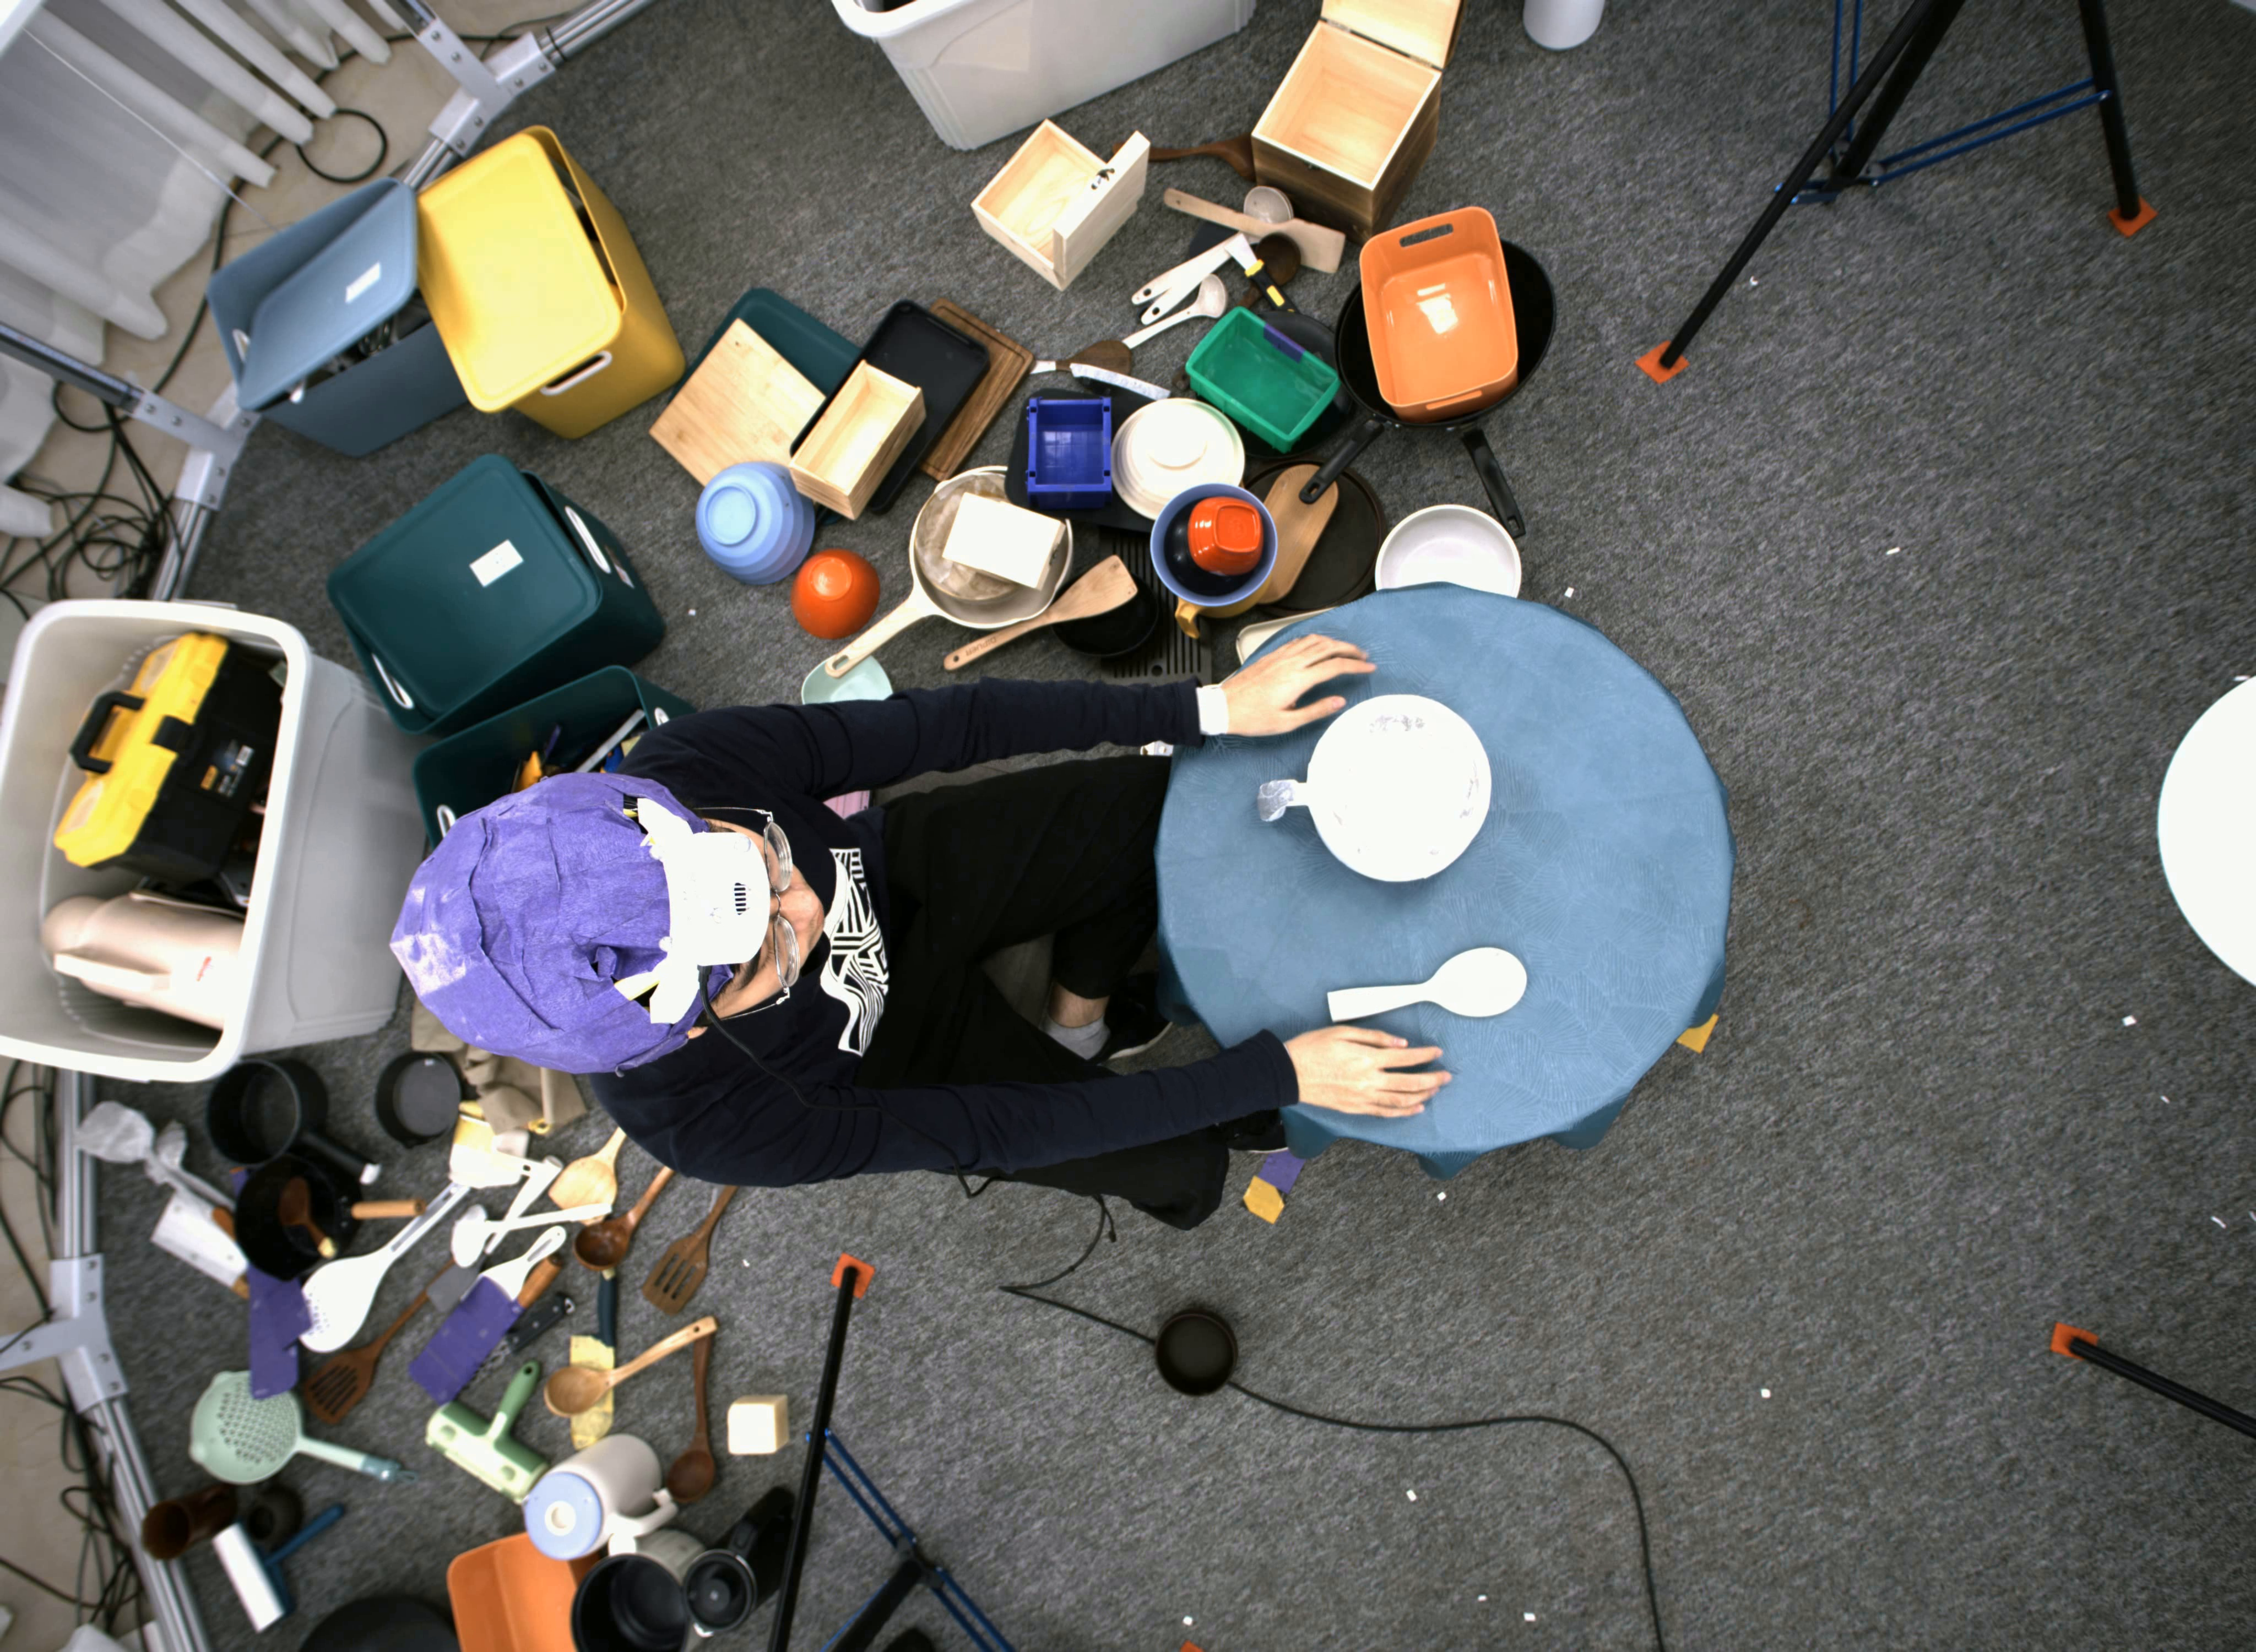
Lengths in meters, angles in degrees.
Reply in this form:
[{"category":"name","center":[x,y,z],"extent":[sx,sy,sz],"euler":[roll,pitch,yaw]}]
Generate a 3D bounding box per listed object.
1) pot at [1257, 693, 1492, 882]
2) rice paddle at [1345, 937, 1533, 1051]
[{"category":"pot","center":[0.246,-0.033,1.401],"extent":[0.235,0.137,0.177],"euler":[-5,83,10]},{"category":"rice paddle","center":[0.323,0.174,1.431],"extent":[0.207,0.029,0.068],"euler":[-27,78,11]}]
